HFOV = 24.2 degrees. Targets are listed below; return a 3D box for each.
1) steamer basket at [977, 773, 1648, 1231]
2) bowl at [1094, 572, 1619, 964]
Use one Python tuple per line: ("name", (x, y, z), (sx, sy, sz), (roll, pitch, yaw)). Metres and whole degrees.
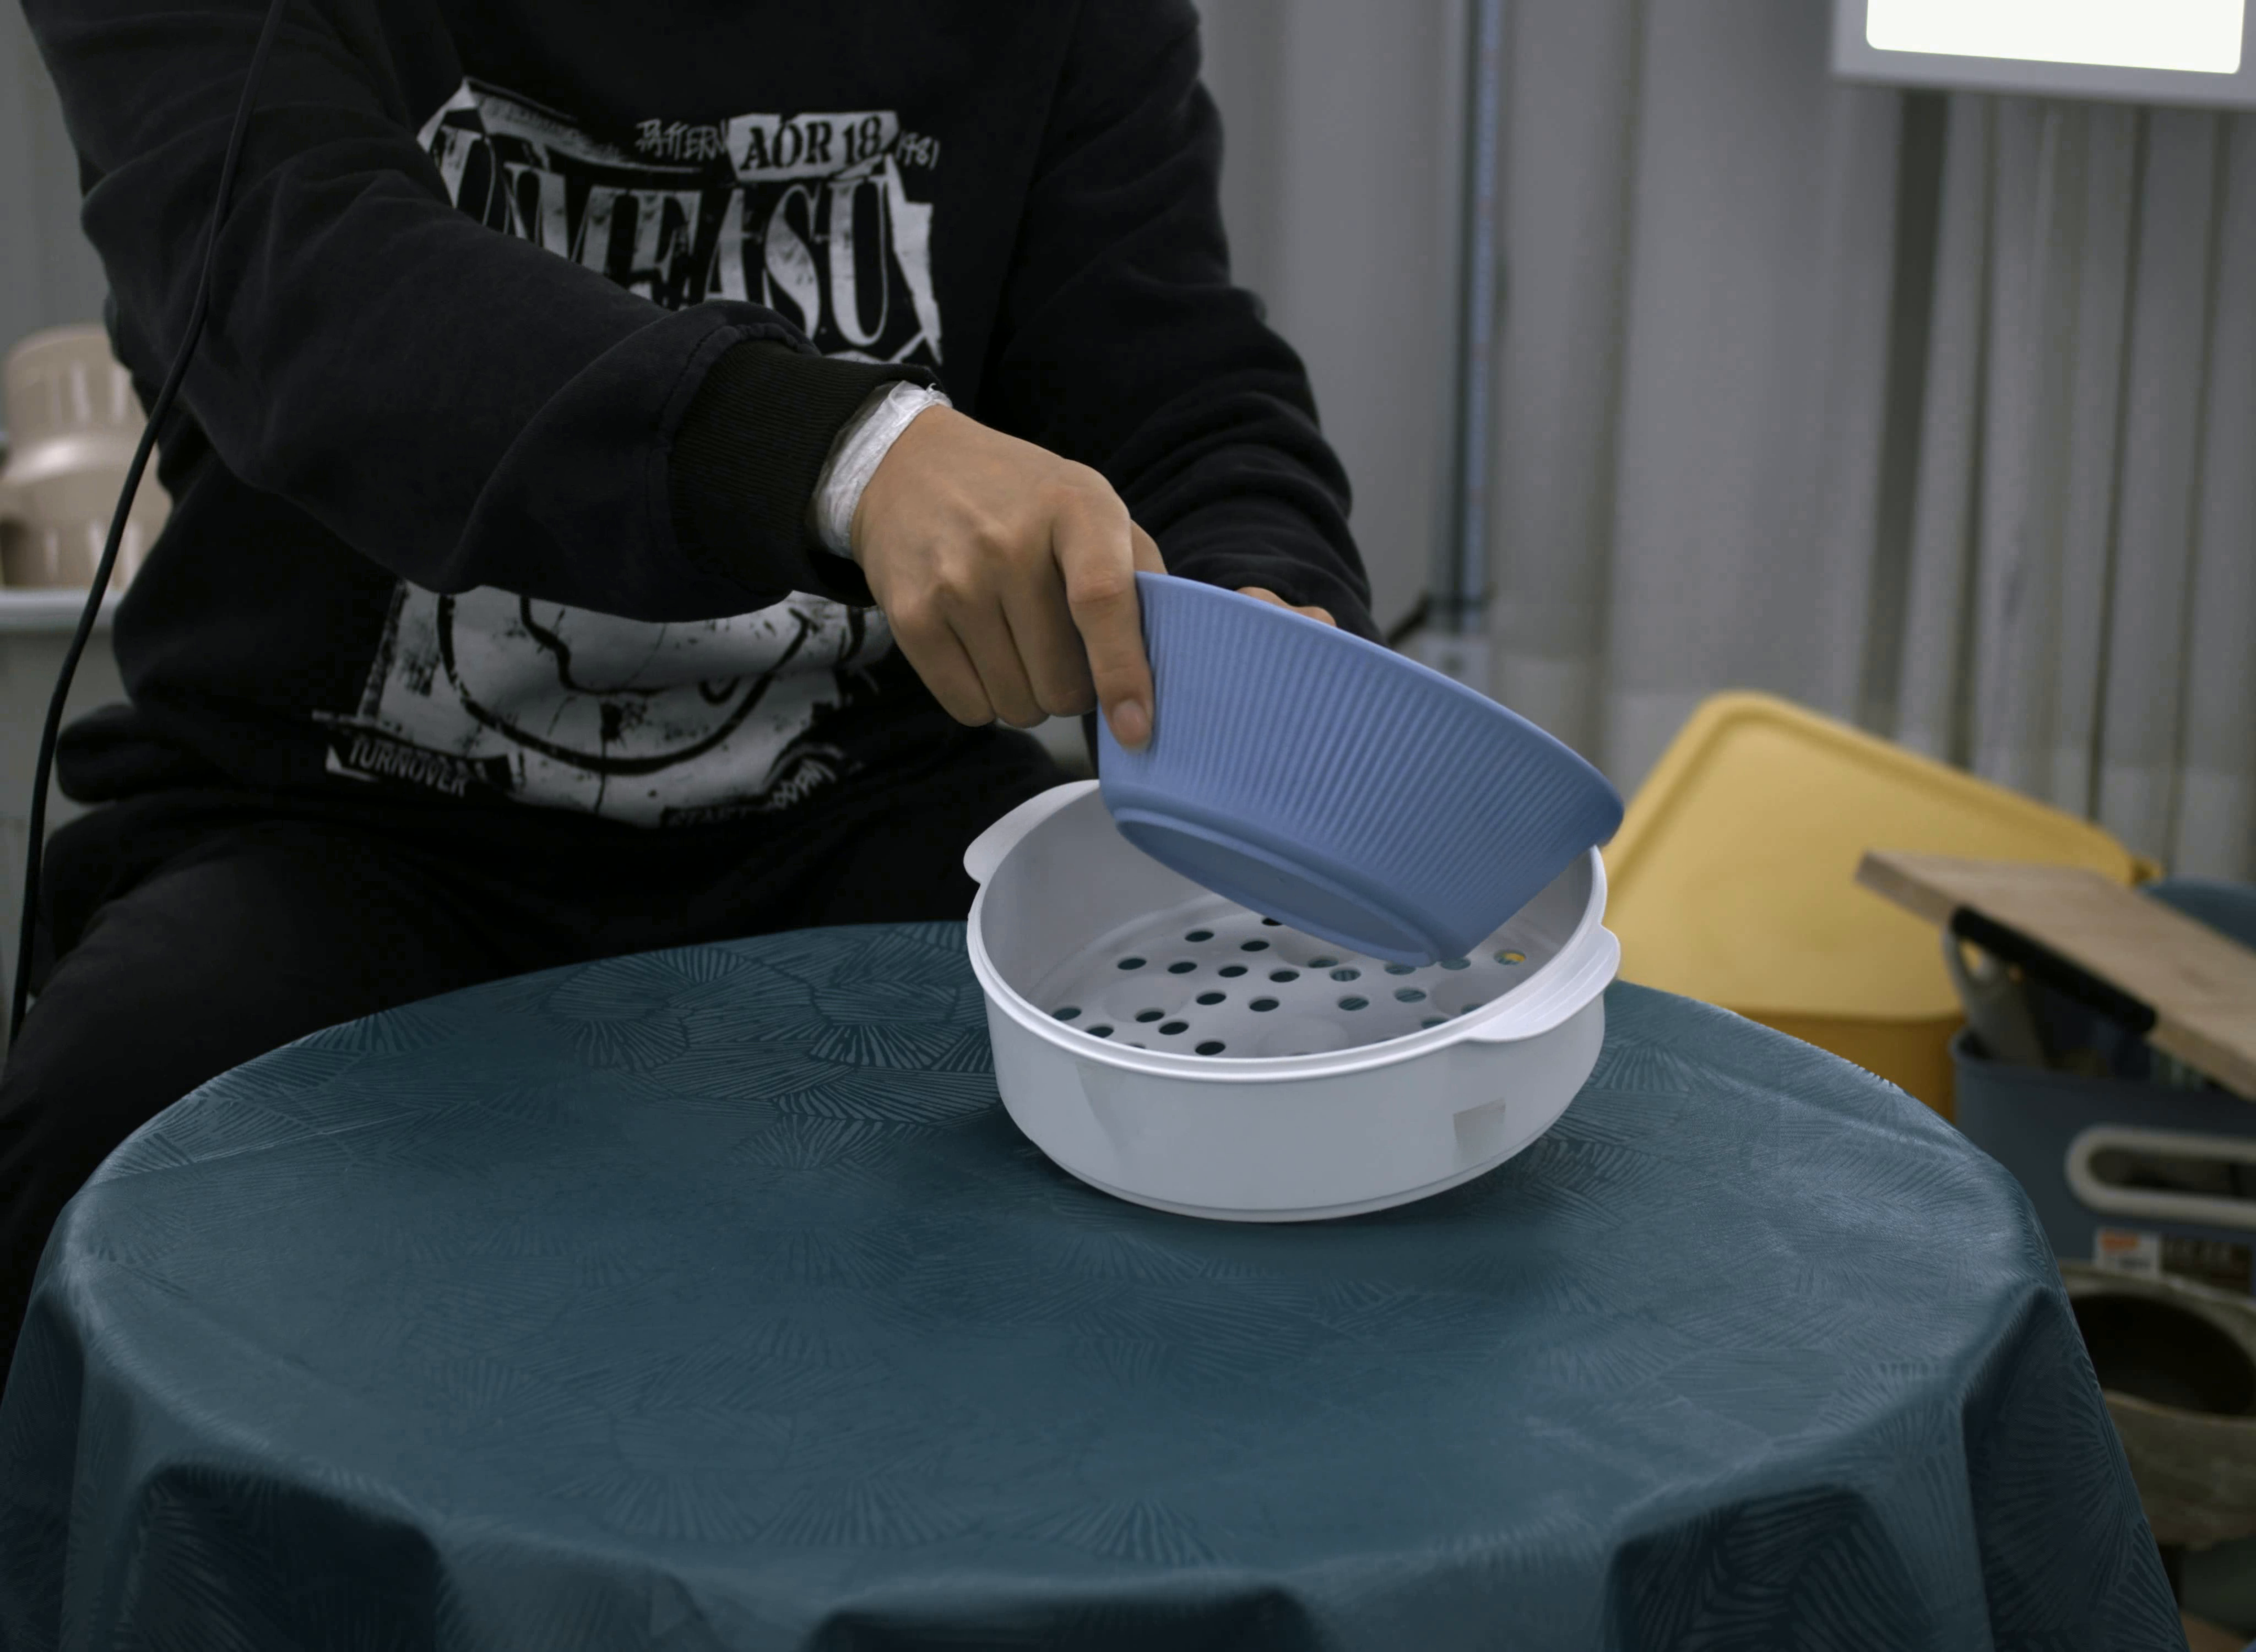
("steamer basket", (0.057, 0.049, 1.657), (0.227, 0.070, 0.202), (20, 39, 32))
("bowl", (0.057, -0.011, 1.611), (0.175, 0.070, 0.176), (24, -9, 4))
